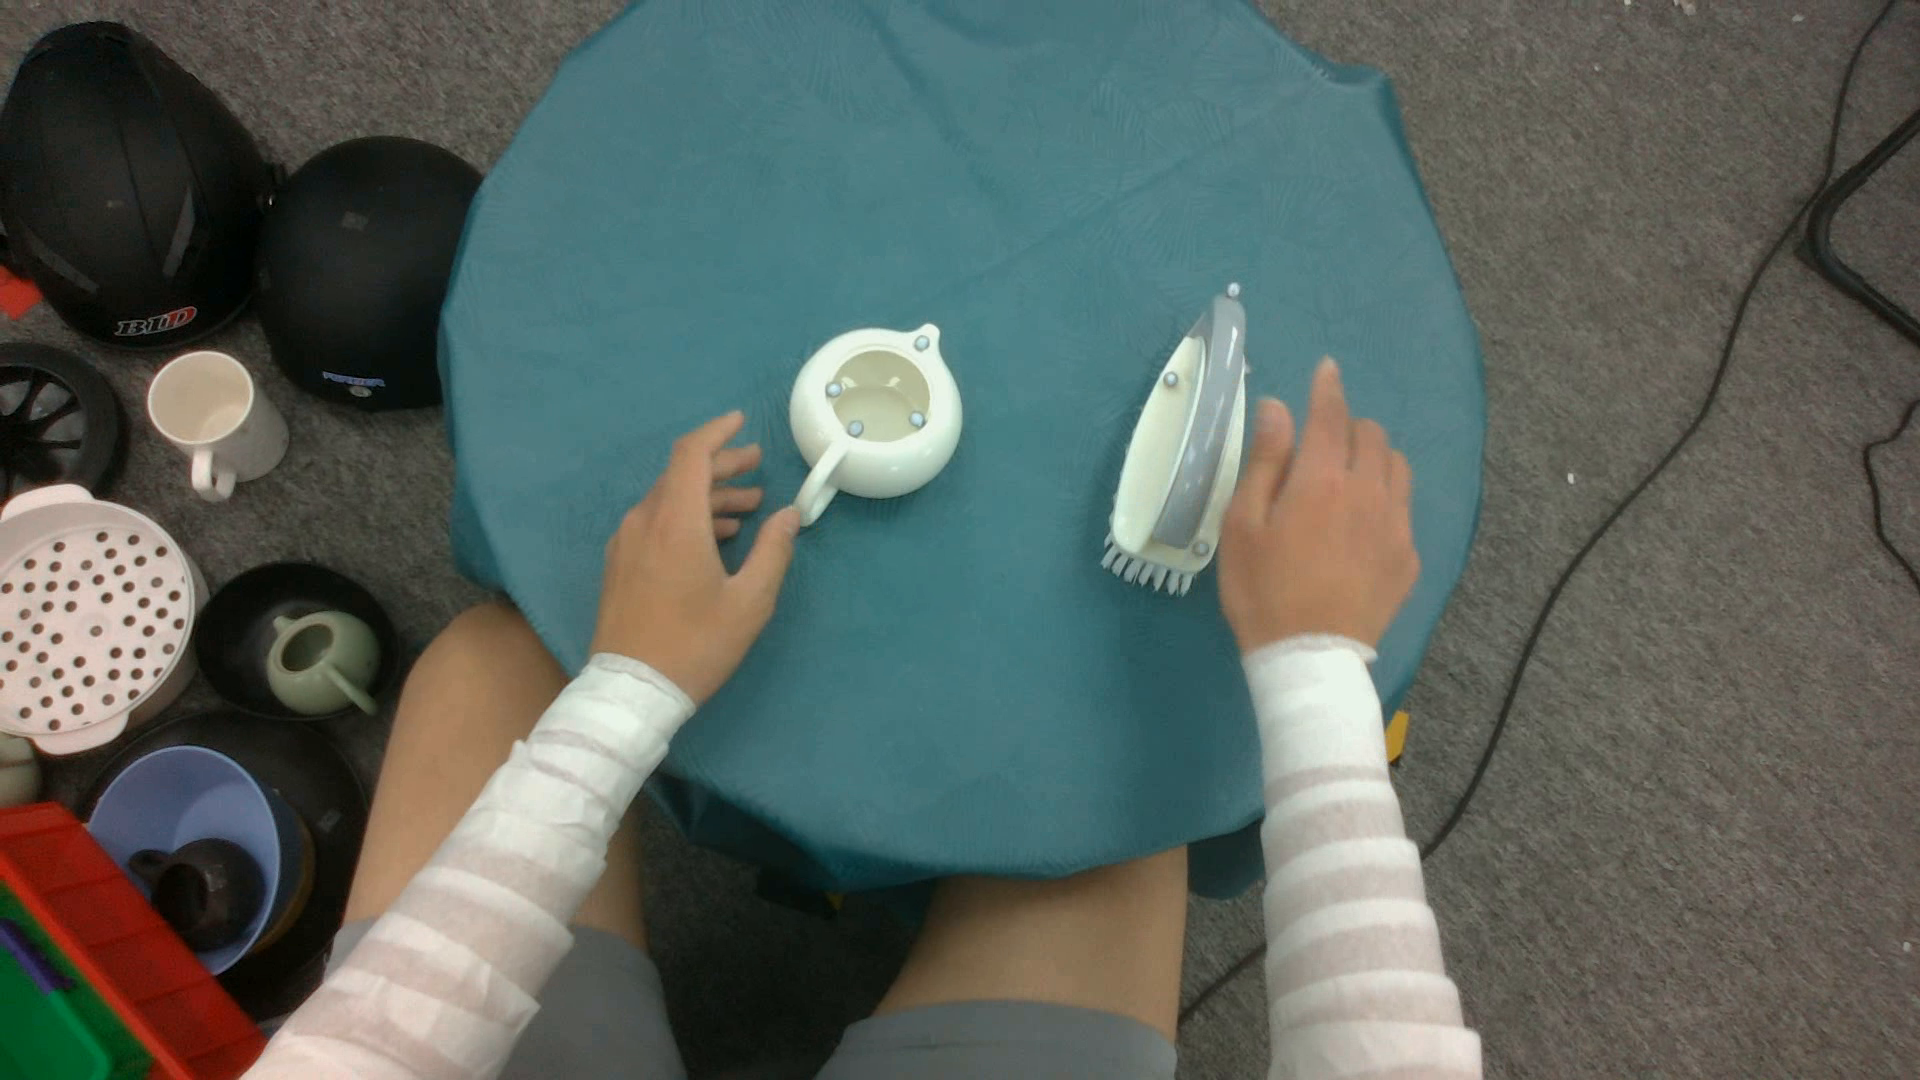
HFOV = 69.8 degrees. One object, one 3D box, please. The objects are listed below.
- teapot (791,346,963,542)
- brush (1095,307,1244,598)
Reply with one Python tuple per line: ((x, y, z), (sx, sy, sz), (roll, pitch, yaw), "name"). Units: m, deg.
((-0.050, -0.051, 0.753), (0.093, 0.056, 0.128), (33, 71, 1), "teapot")
((0.128, -0.063, 0.762), (0.061, 0.094, 0.176), (19, 67, -4), "brush")
